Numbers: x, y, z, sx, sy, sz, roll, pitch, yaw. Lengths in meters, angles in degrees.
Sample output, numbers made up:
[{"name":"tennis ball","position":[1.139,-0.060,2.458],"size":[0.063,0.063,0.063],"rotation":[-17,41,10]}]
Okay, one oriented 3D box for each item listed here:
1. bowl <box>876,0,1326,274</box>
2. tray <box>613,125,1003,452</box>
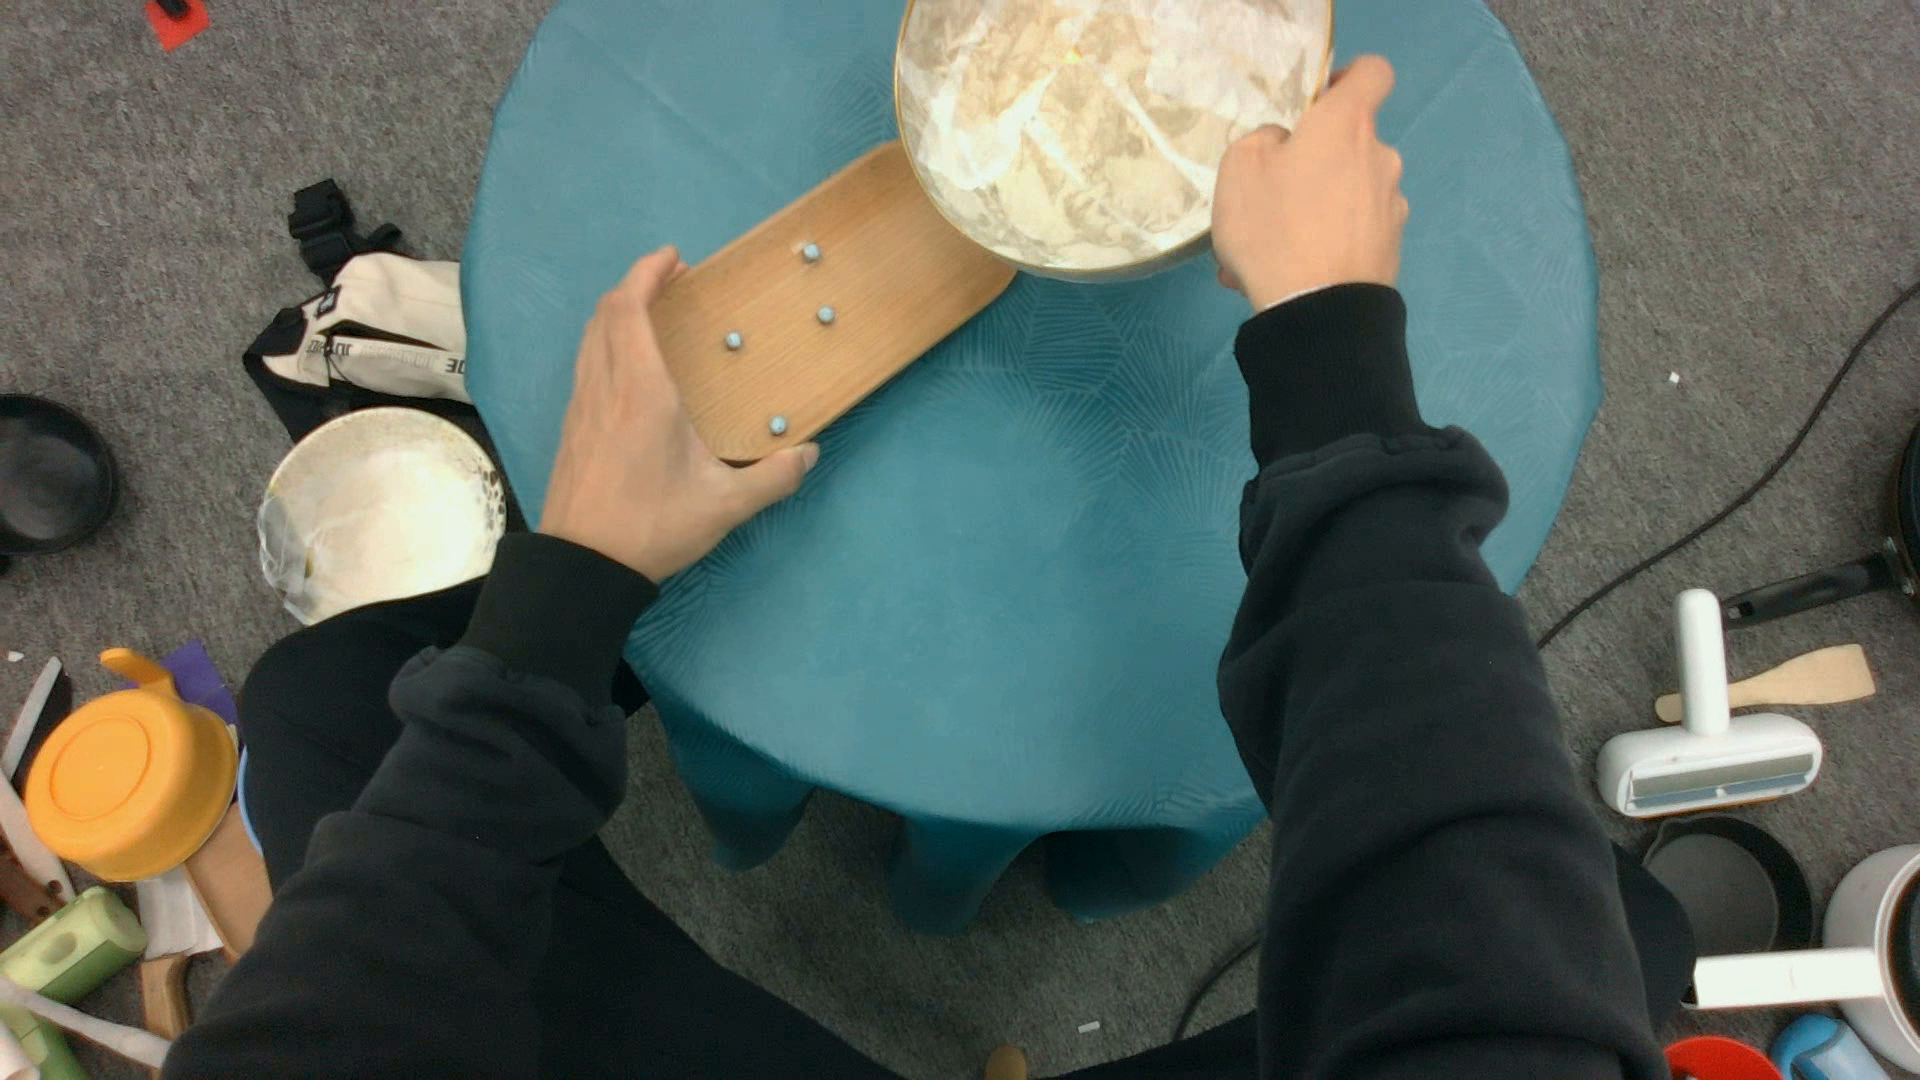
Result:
[{"name":"bowl","position":[0.068,-0.214,0.656],"size":[0.214,0.094,0.215],"rotation":[-2,83,15]},{"name":"tray","position":[-0.071,-0.129,0.691],"size":[0.232,0.020,0.101],"rotation":[-41,87,-25]}]
